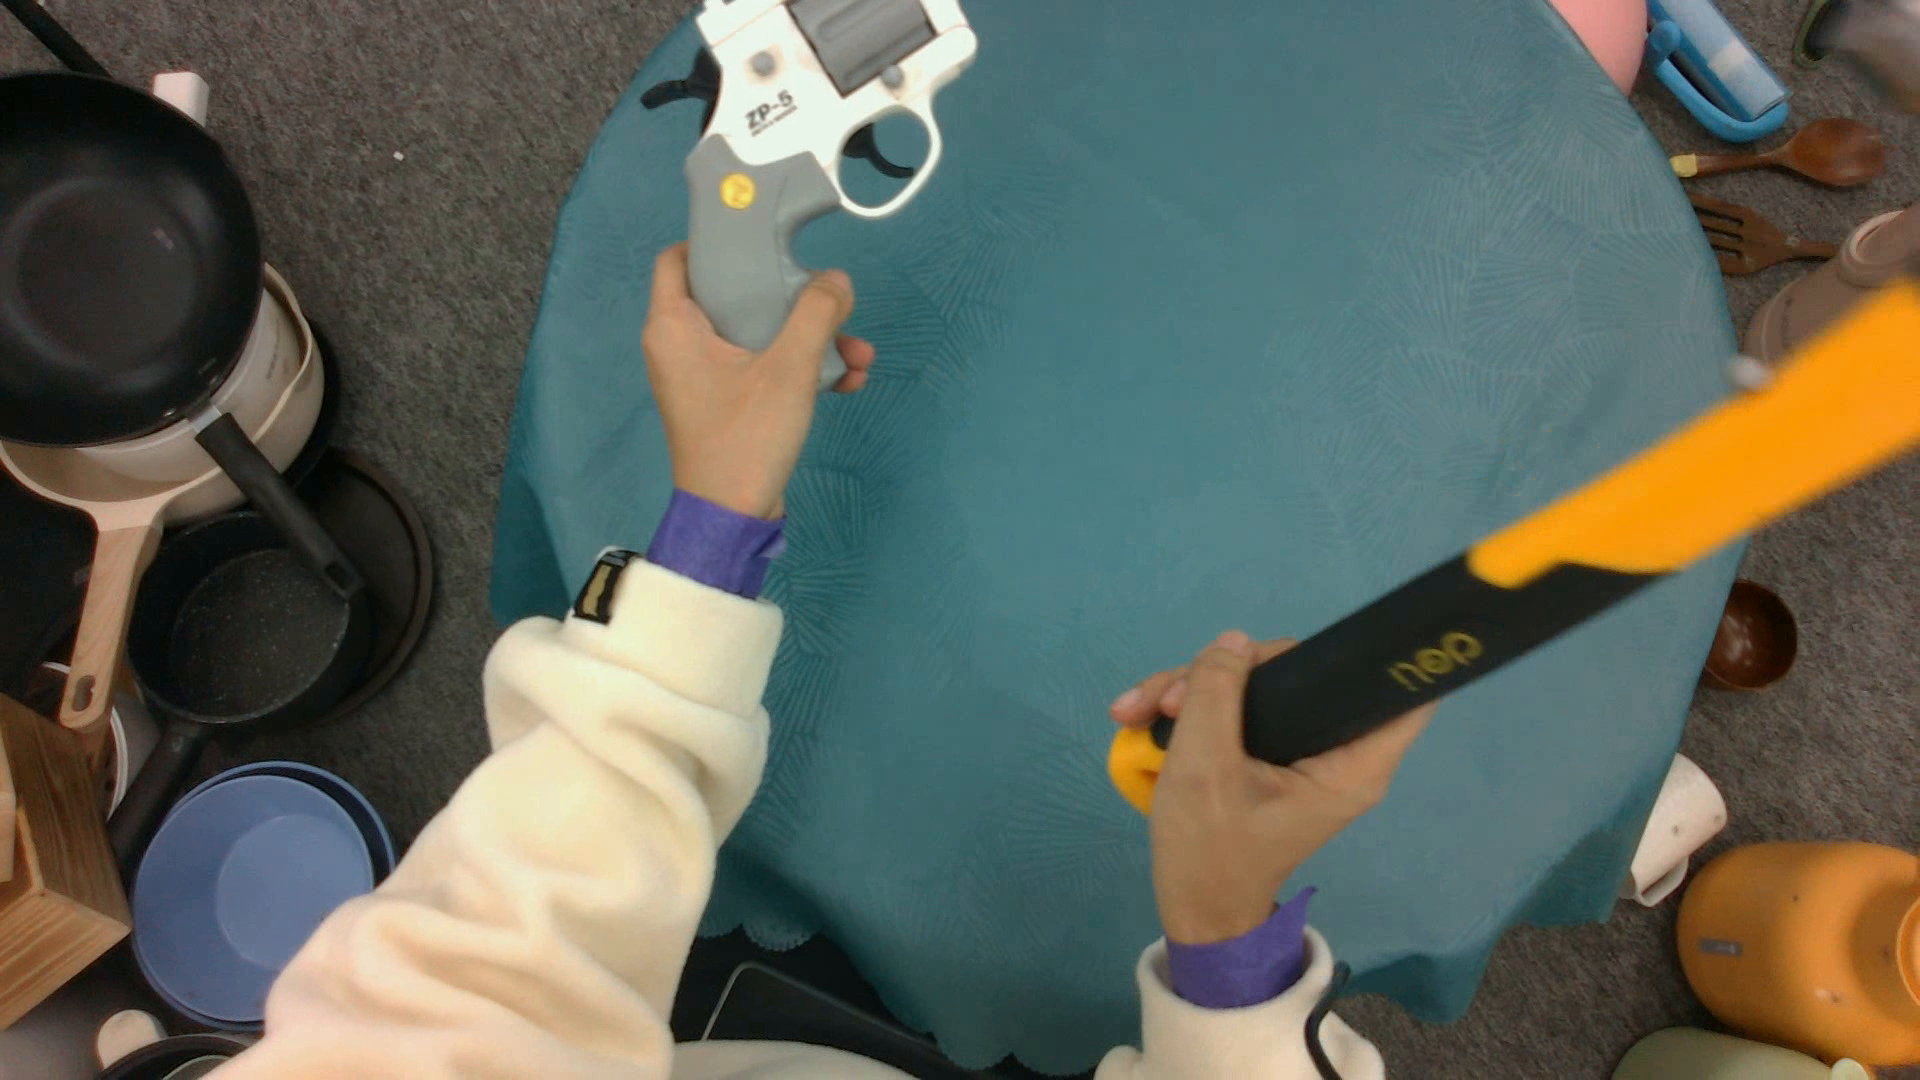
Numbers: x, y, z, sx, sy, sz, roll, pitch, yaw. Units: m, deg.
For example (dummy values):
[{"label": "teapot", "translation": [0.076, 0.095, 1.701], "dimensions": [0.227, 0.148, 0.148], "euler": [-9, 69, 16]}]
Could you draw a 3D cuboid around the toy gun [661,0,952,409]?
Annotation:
[{"label": "toy gun", "translation": [-0.041, -0.159, 0.522], "dimensions": [0.209, 0.039, 0.141], "euler": [-36, 94, 1]}]

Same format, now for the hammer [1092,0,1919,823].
[{"label": "hammer", "translation": [0.152, 0.008, 0.384], "dimensions": [0.131, 0.336, 0.032], "euler": [42, 43, -9]}]
